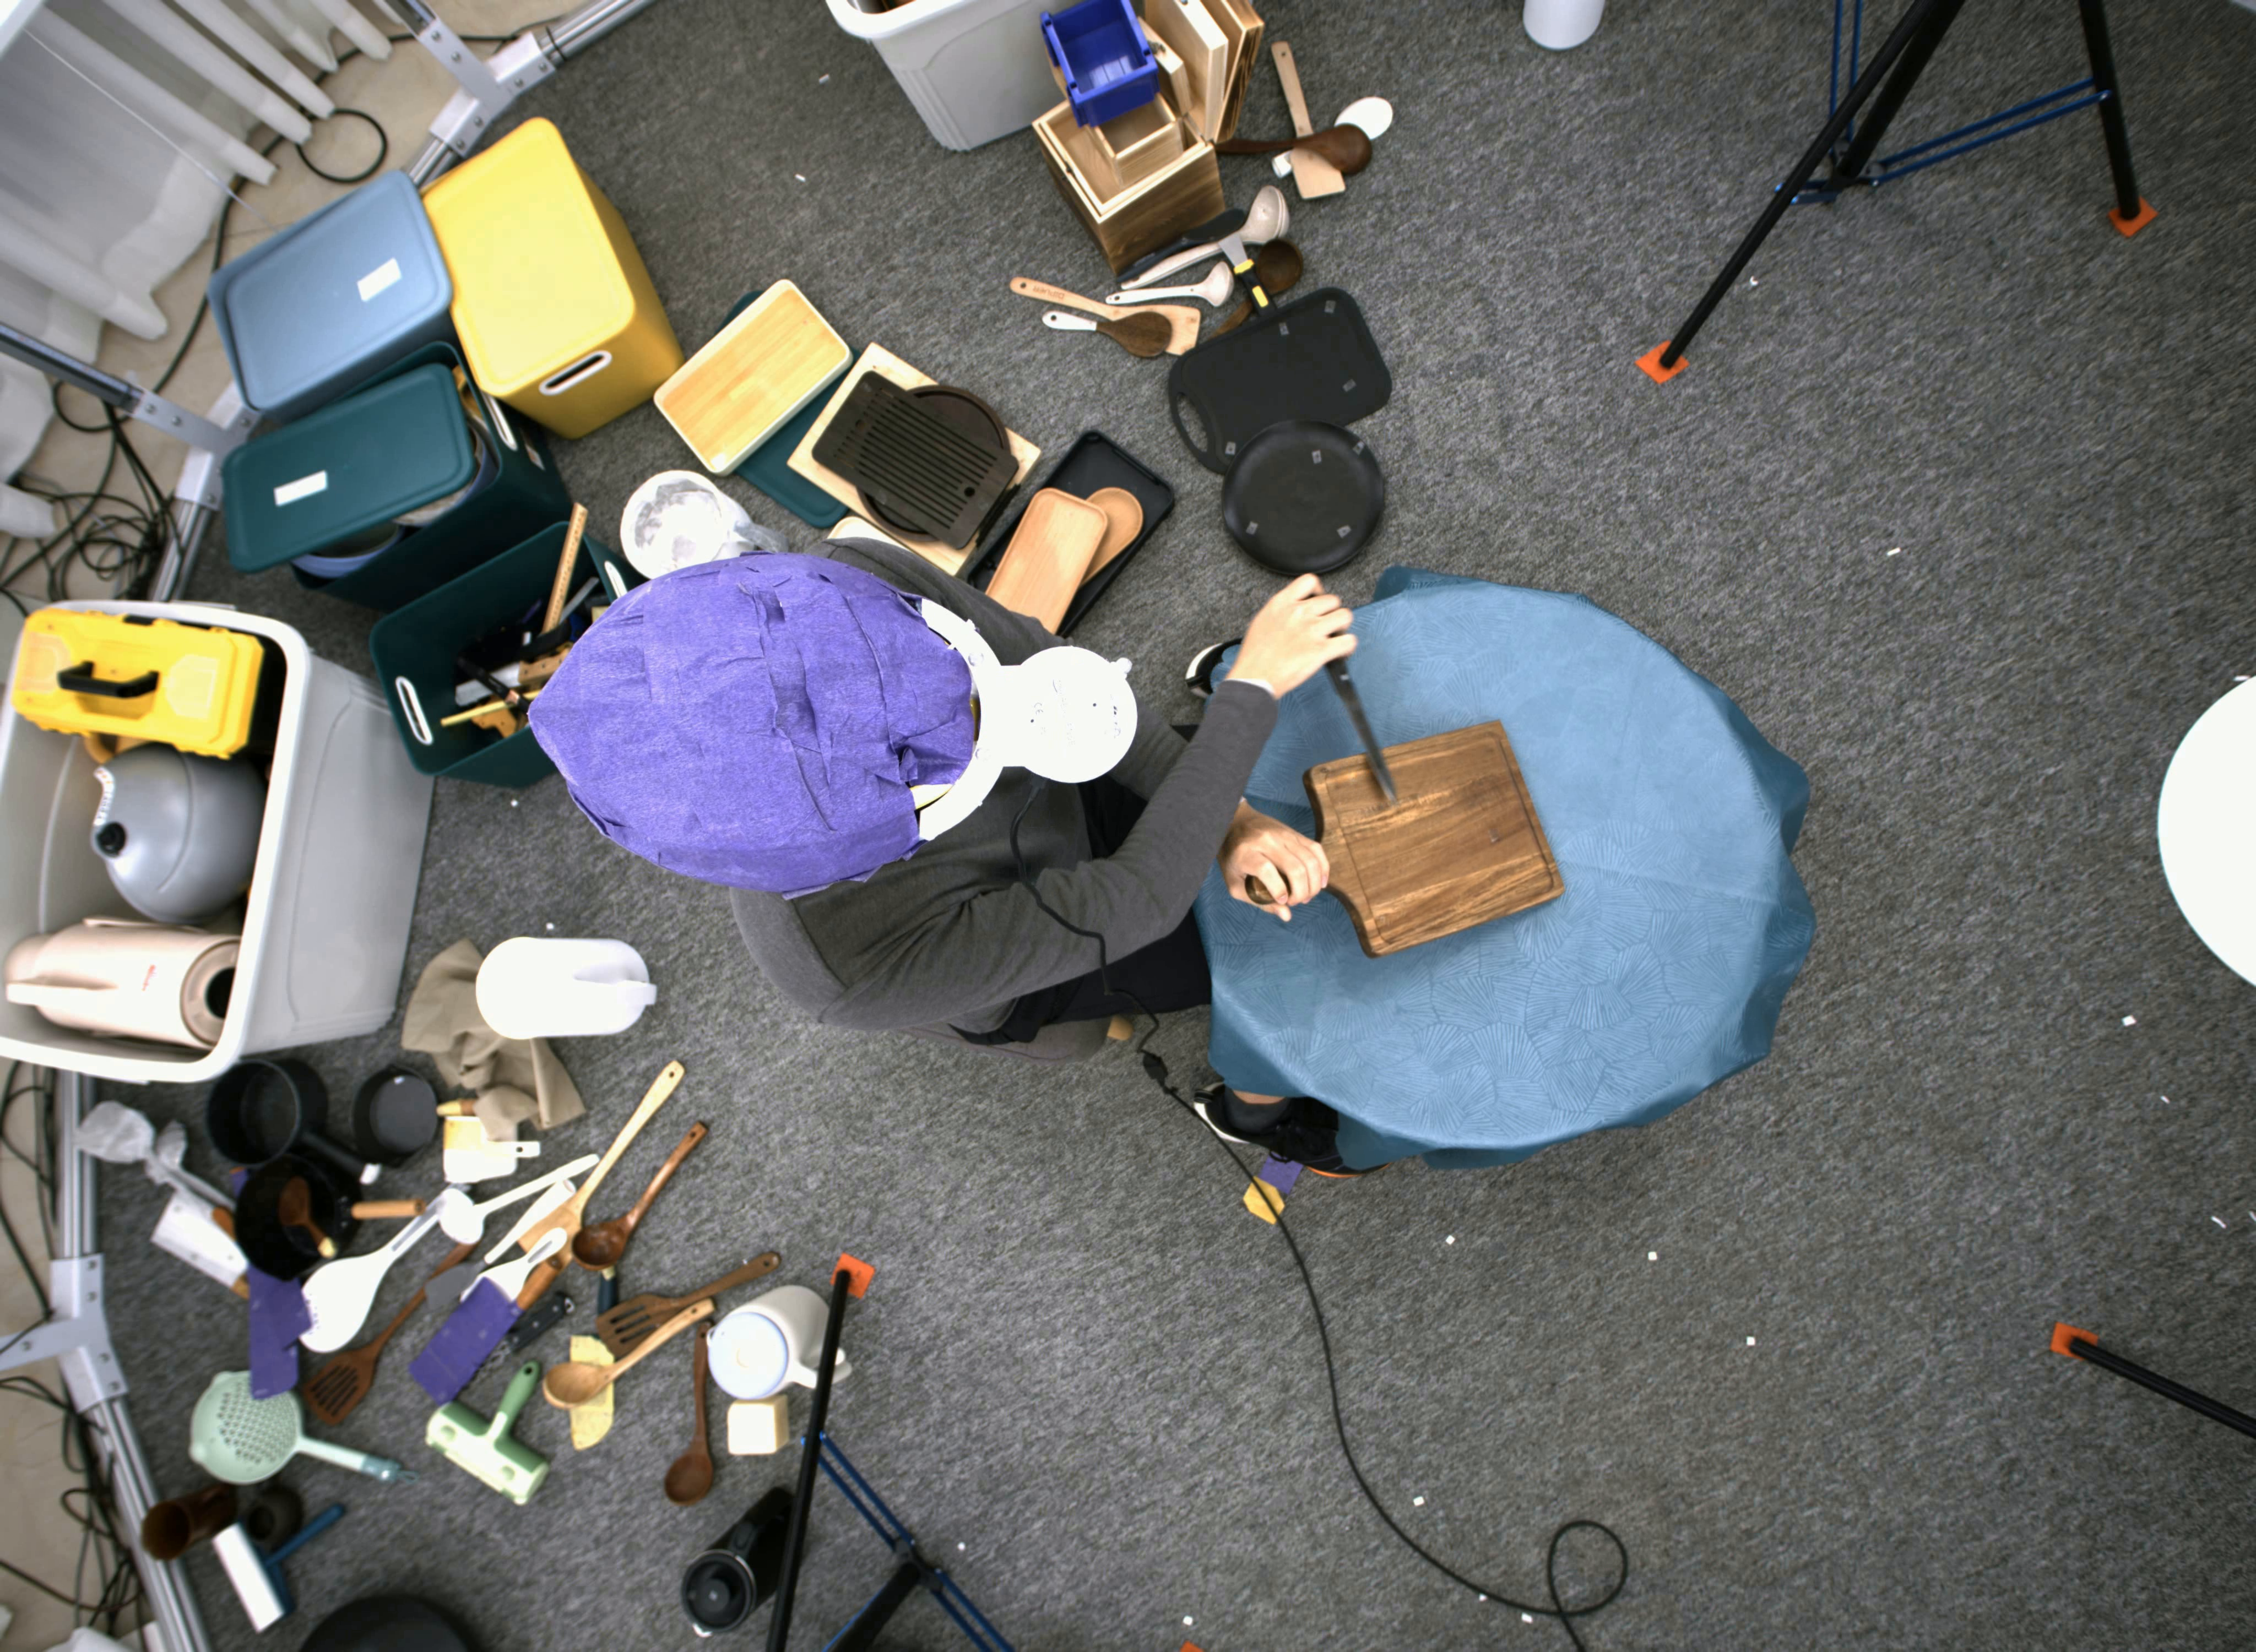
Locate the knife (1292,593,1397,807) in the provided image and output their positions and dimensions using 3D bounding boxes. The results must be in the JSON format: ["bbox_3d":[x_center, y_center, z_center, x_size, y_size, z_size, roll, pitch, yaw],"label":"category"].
[{"bbox_3d":[0.216,-0.127,1.369,0.024,0.016,0.236,-17,80,-32],"label":"knife"}]

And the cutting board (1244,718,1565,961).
[{"bbox_3d":[0.265,0.018,1.360,0.349,0.023,0.200,-15,83,-24],"label":"cutting board"}]
